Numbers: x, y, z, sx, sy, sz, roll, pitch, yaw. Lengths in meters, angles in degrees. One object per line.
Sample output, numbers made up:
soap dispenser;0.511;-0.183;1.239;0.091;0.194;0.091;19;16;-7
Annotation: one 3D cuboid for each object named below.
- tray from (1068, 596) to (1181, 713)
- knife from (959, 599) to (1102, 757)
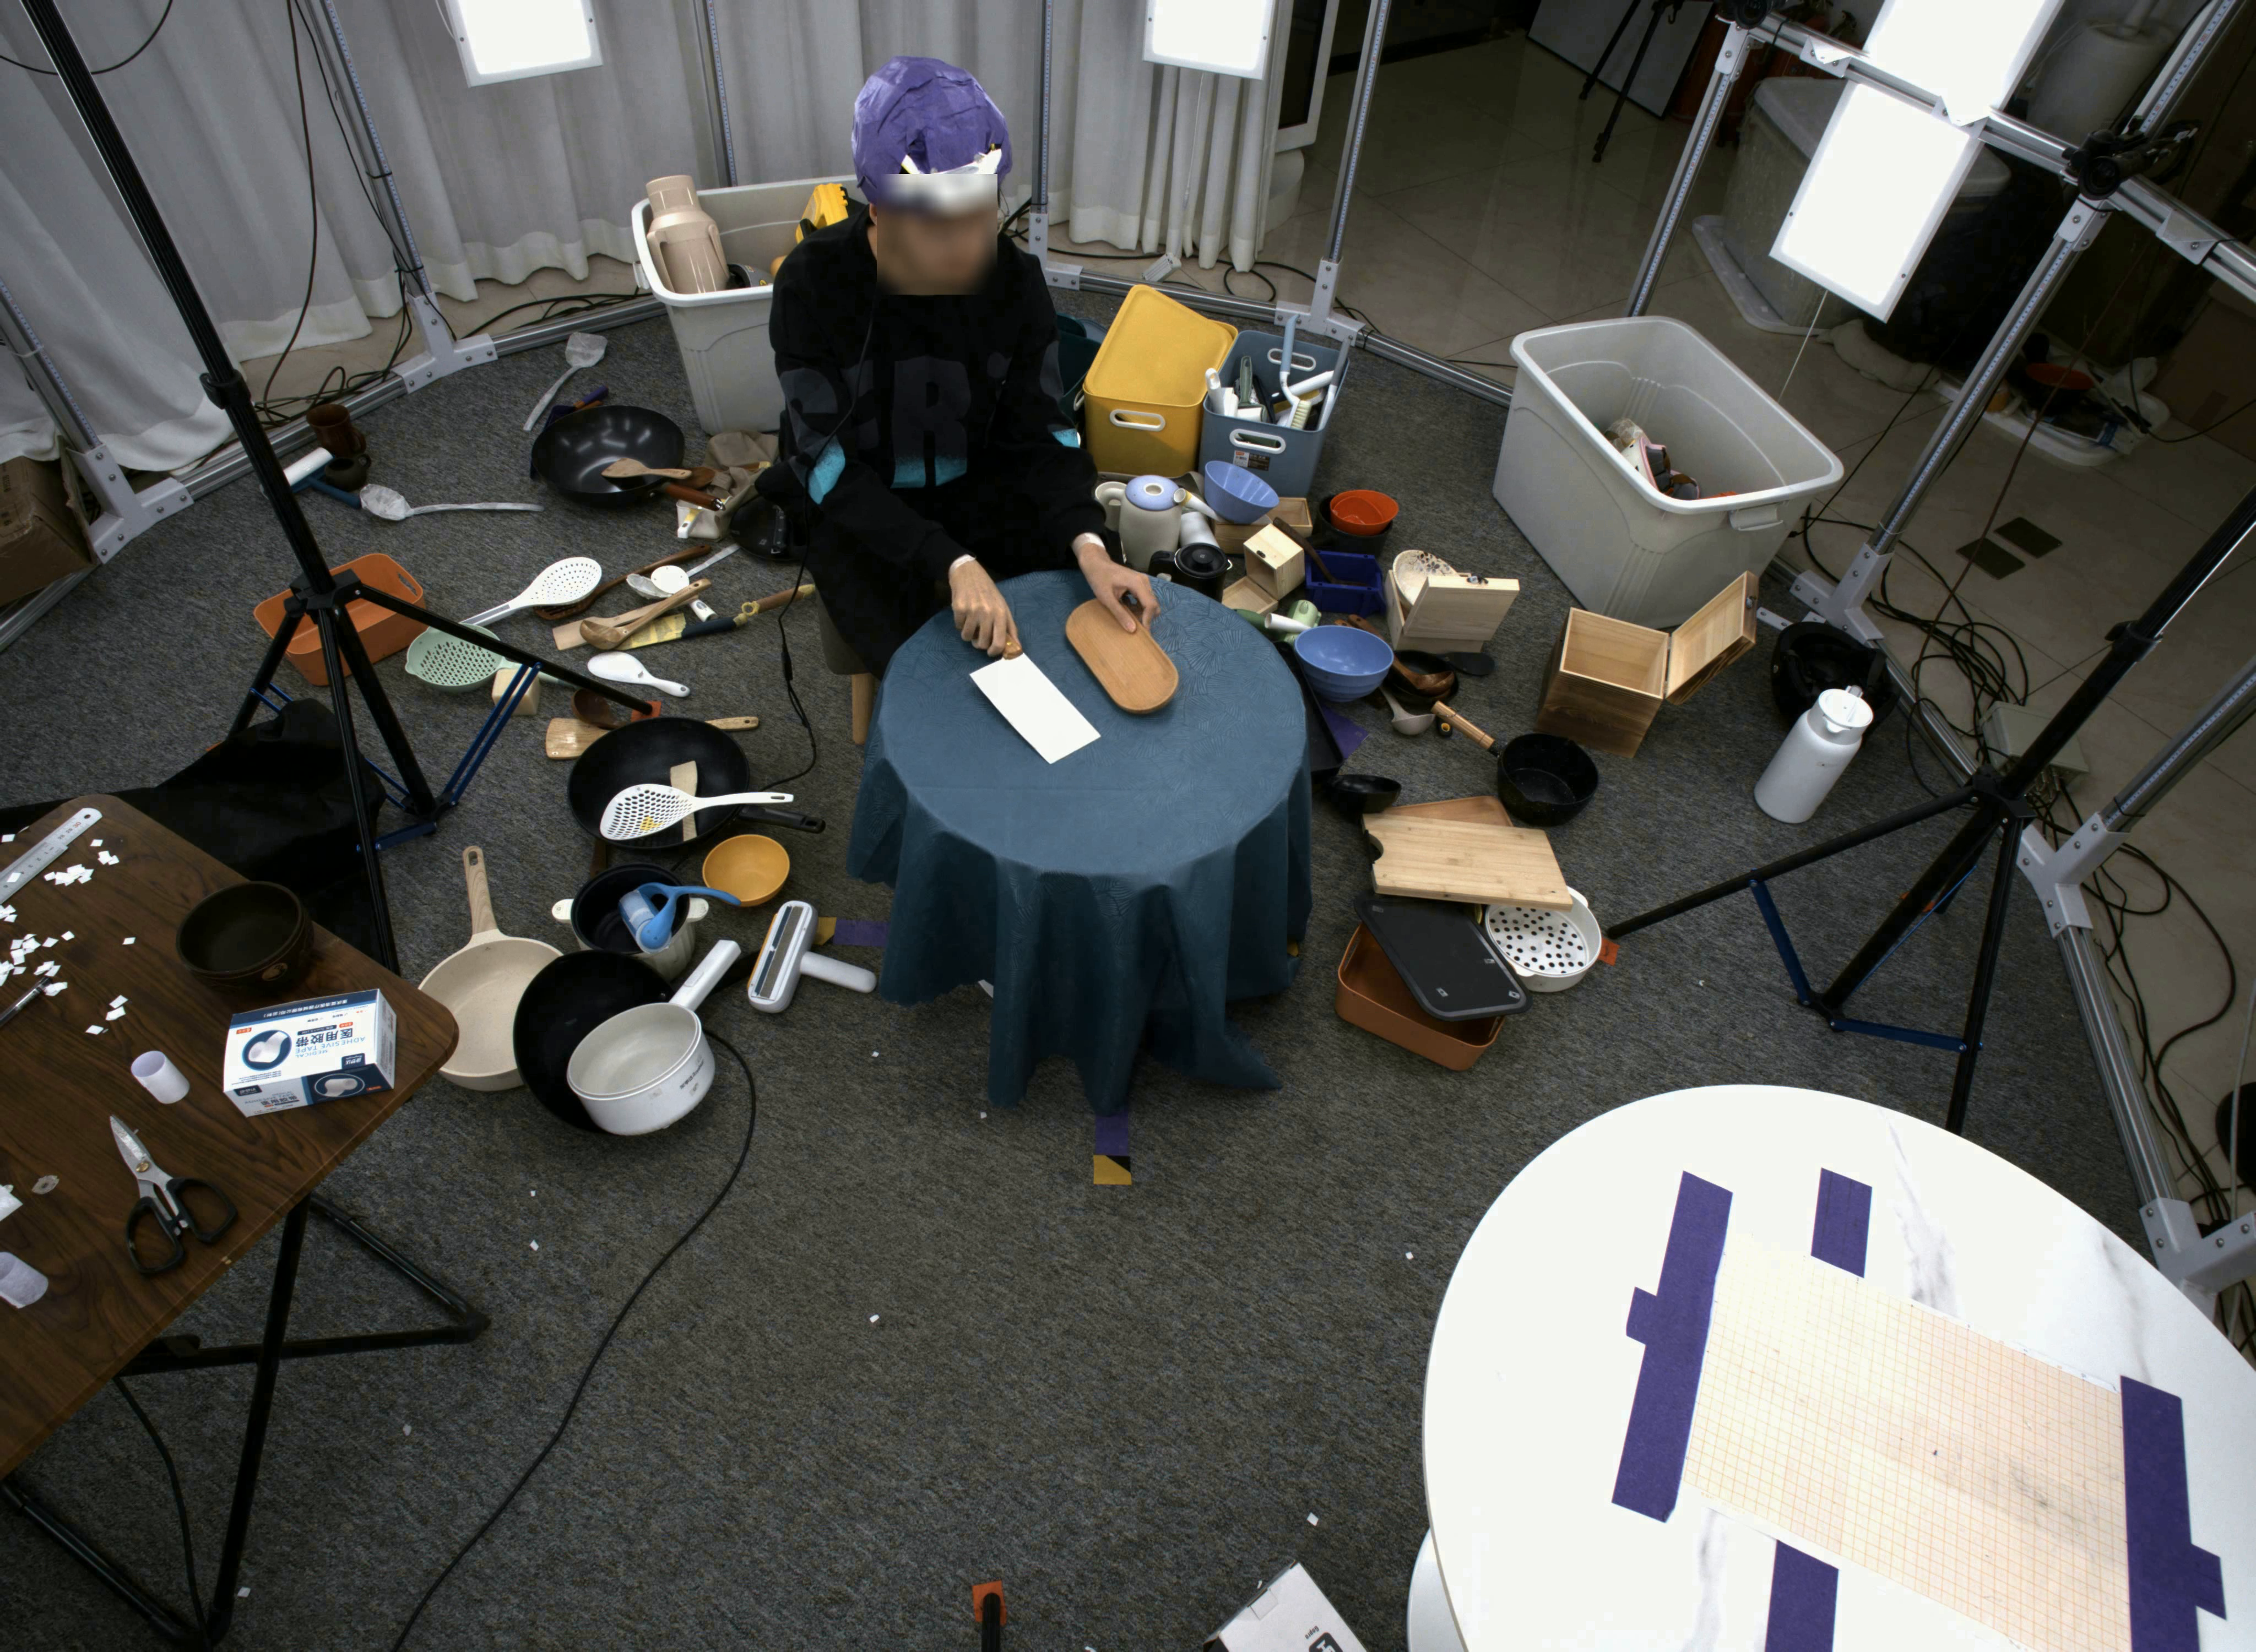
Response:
tray;-0.006;-0.250;1.858;0.102;0.020;0.236;-30;55;-6
knife;-0.161;-0.209;1.816;0.093;0.020;0.310;-30;63;-26
